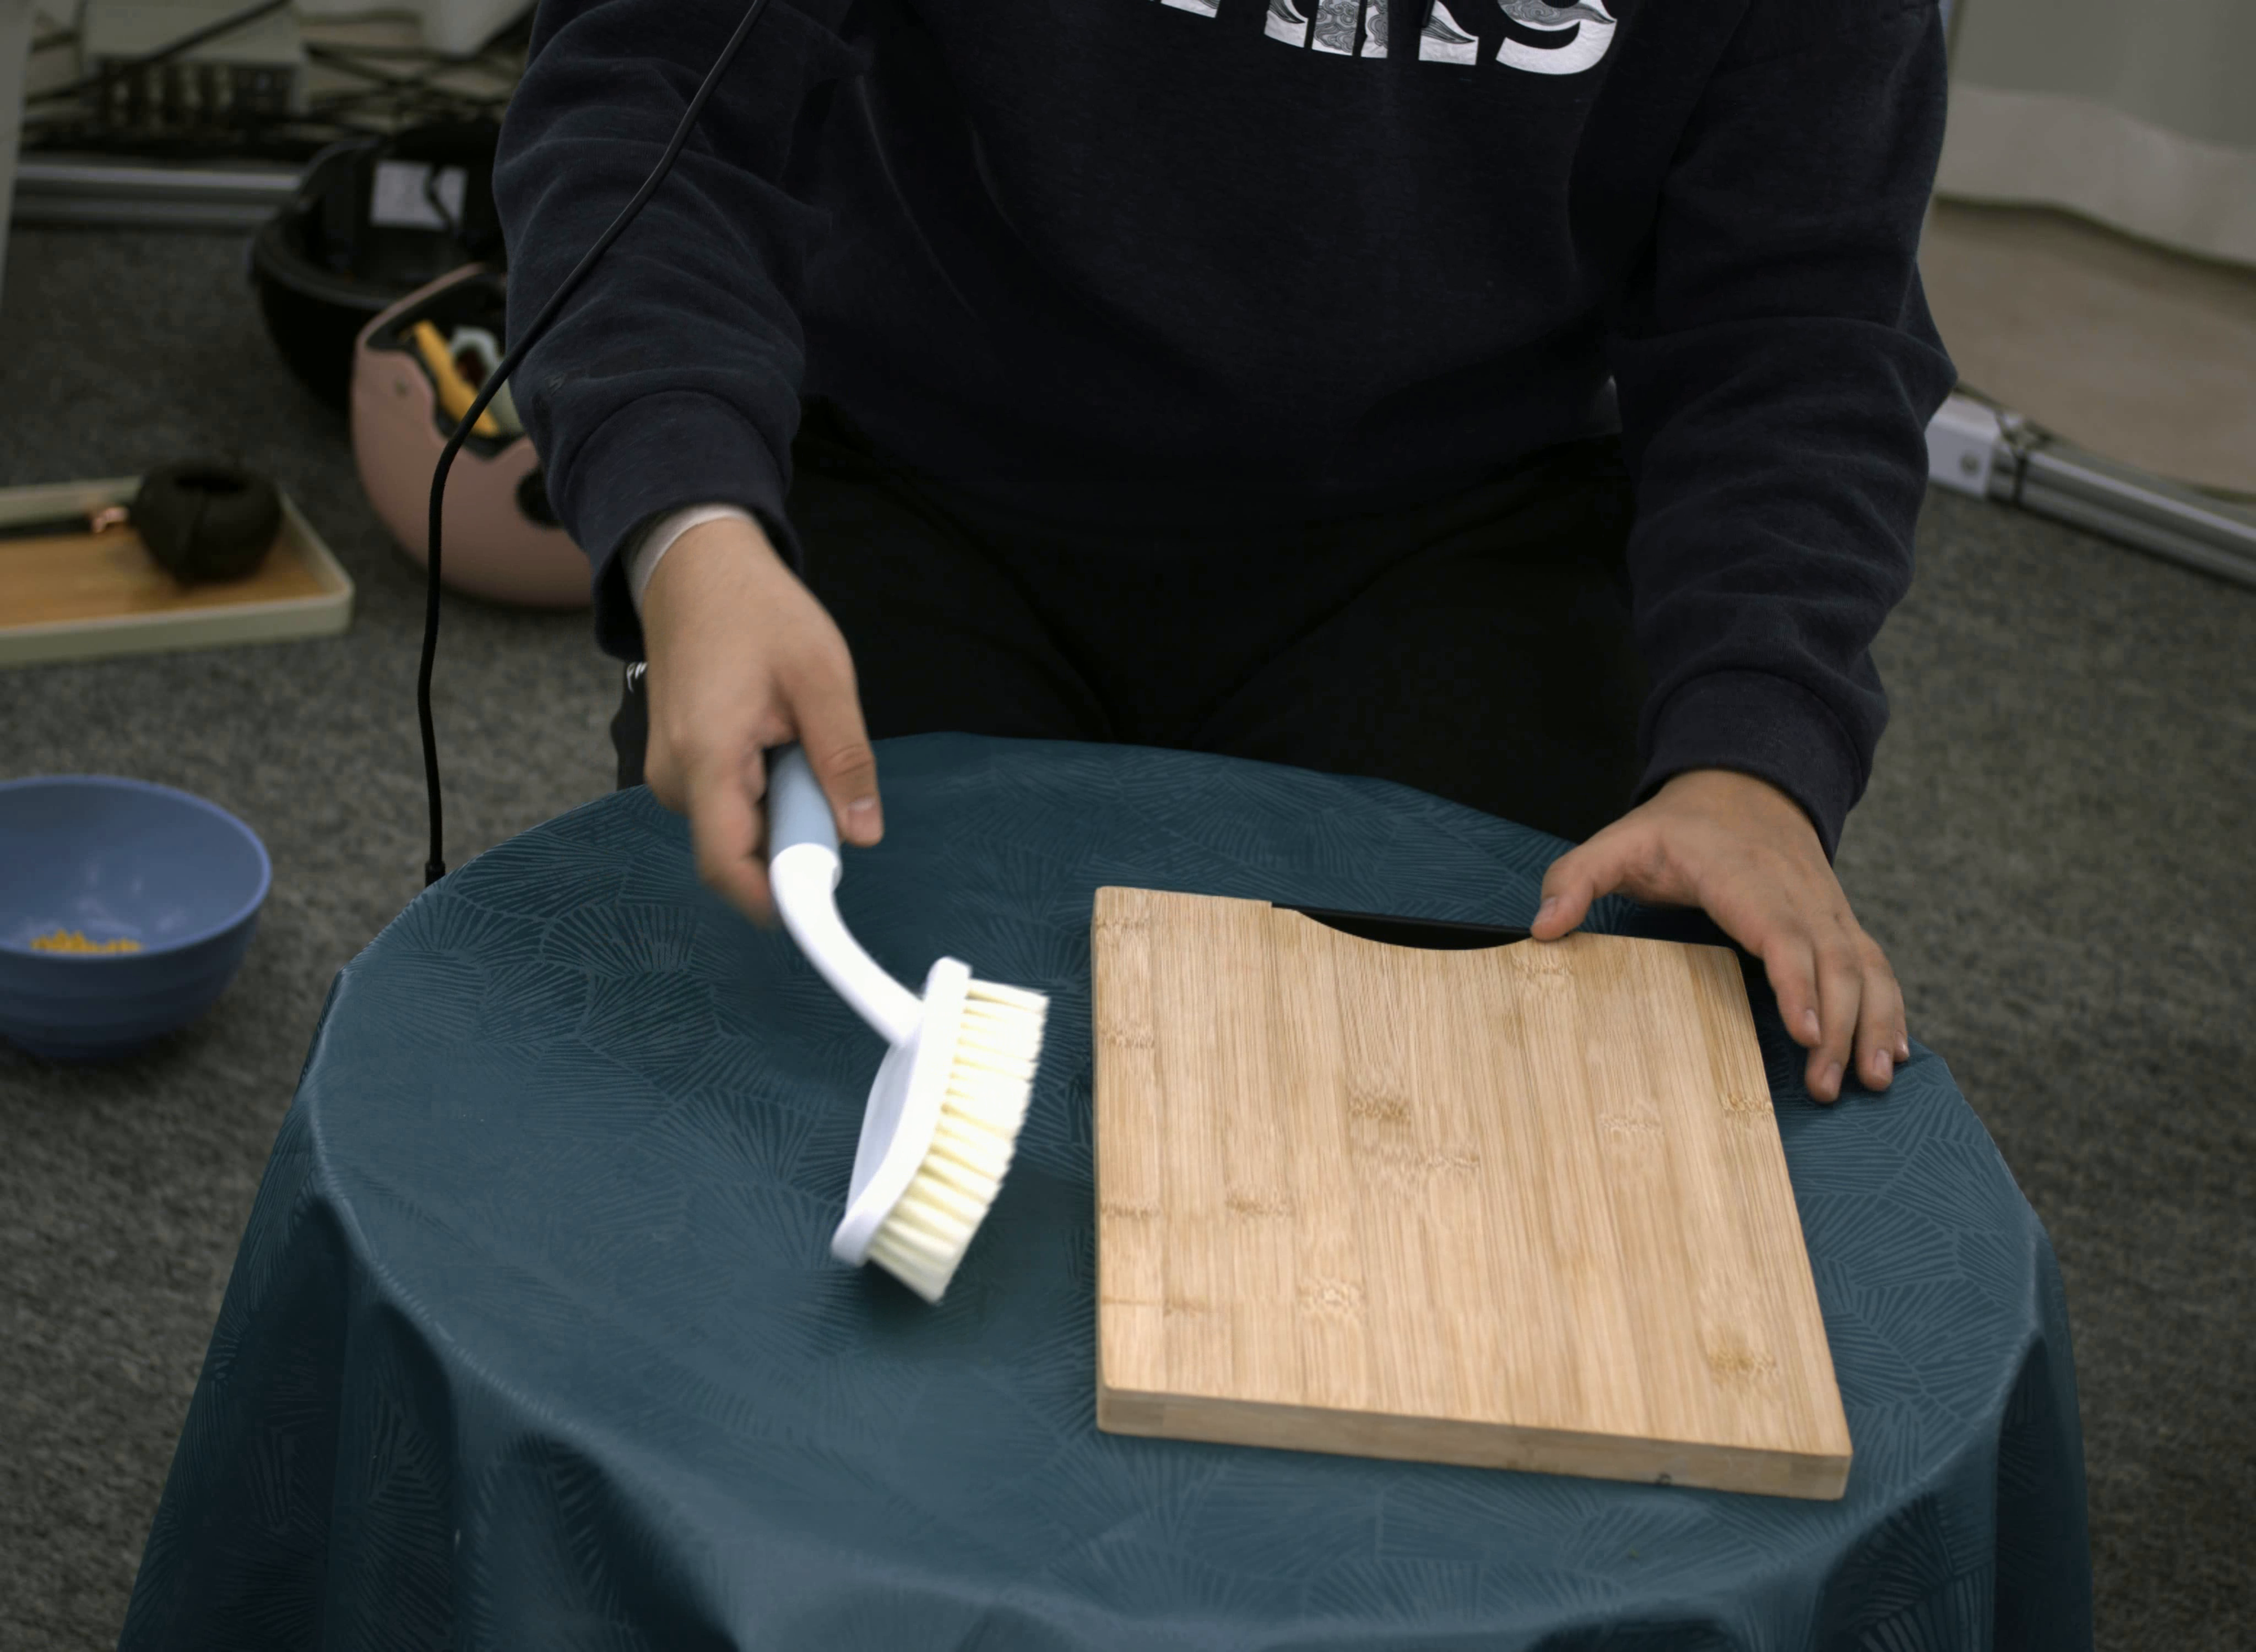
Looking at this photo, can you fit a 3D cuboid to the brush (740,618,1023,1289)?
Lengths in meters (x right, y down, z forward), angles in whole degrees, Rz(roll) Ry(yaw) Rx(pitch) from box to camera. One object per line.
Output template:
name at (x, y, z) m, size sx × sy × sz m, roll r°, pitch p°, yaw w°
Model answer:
brush at (-0.075, 0.035, 1.825) m, size 0.083 × 0.084 × 0.328 m, roll -31°, pitch 36°, yaw 18°

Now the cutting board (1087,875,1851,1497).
cutting board at (0.108, 0.116, 1.829) m, size 0.250 × 0.023 × 0.351 m, roll 6°, pitch 27°, yaw -4°
